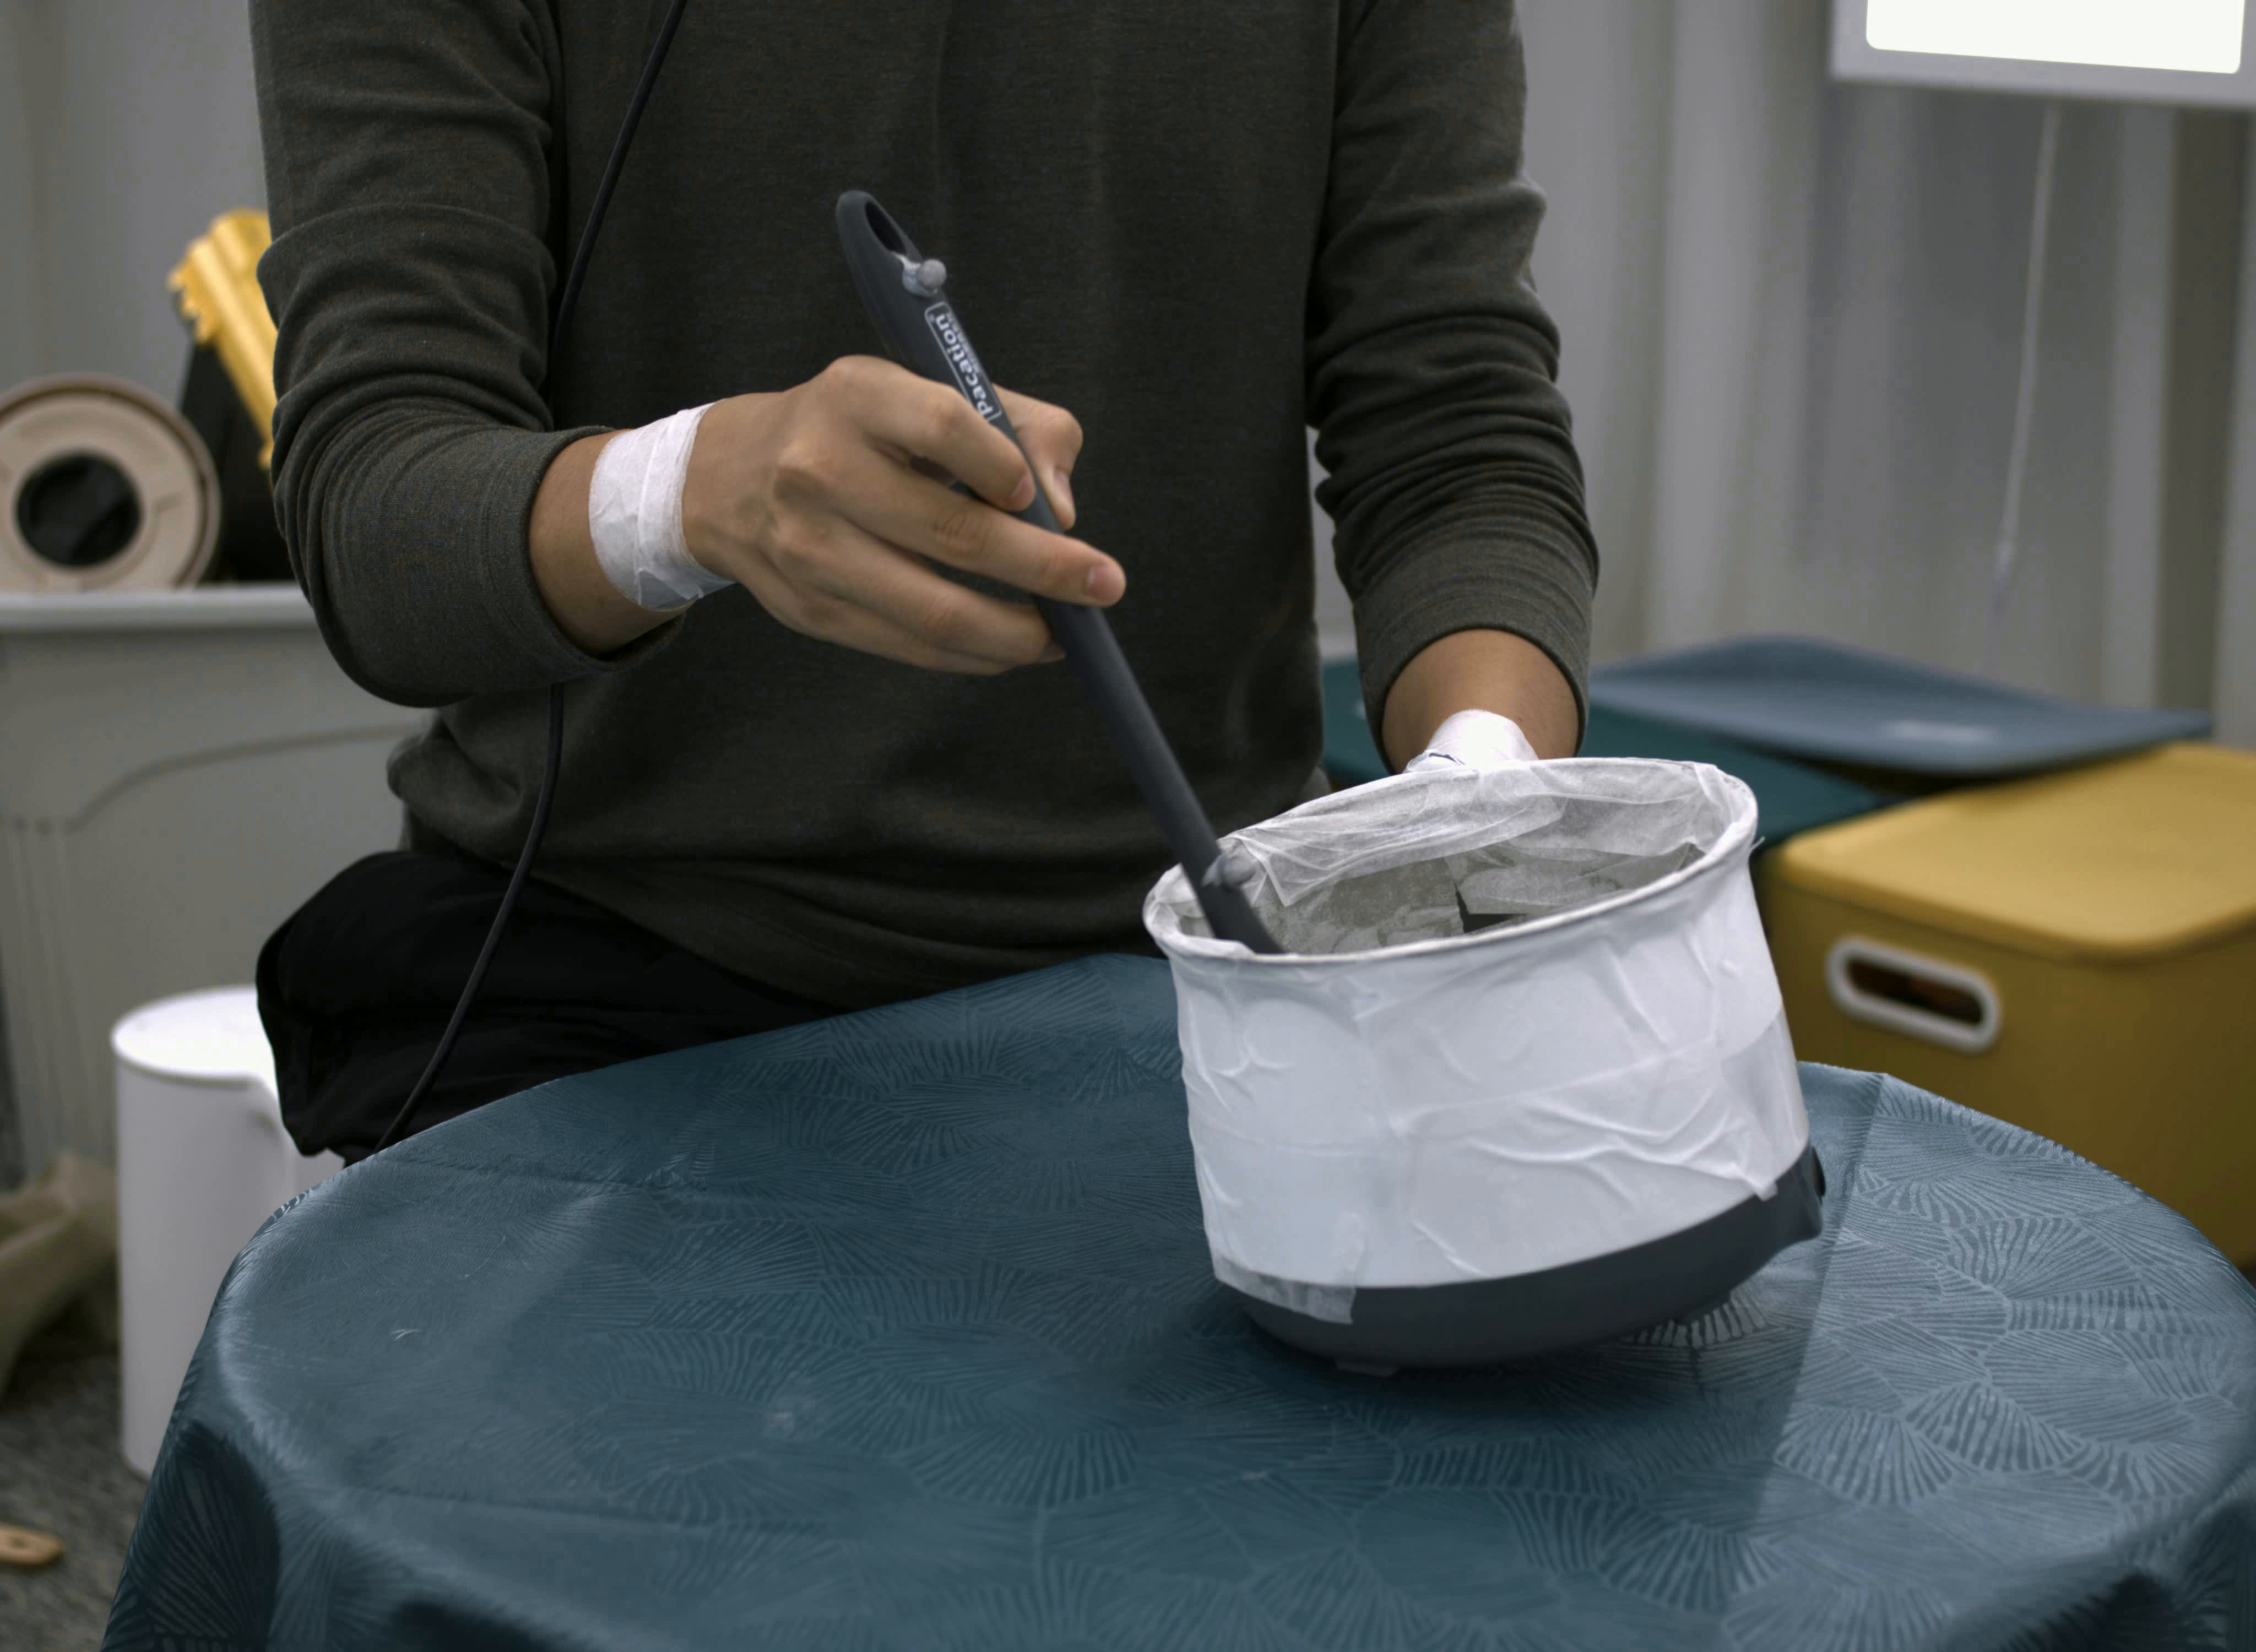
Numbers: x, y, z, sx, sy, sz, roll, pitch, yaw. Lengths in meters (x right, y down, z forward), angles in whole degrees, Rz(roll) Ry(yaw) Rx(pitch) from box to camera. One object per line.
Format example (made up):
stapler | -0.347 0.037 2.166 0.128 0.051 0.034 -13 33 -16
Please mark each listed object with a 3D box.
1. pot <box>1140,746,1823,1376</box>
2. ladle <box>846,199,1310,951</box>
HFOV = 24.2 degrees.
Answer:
pot | 0.102 0.060 1.527 0.178 0.138 0.232 -10 15 2
ladle | 0.018 -0.049 1.481 0.063 0.315 0.086 -27 5 32
